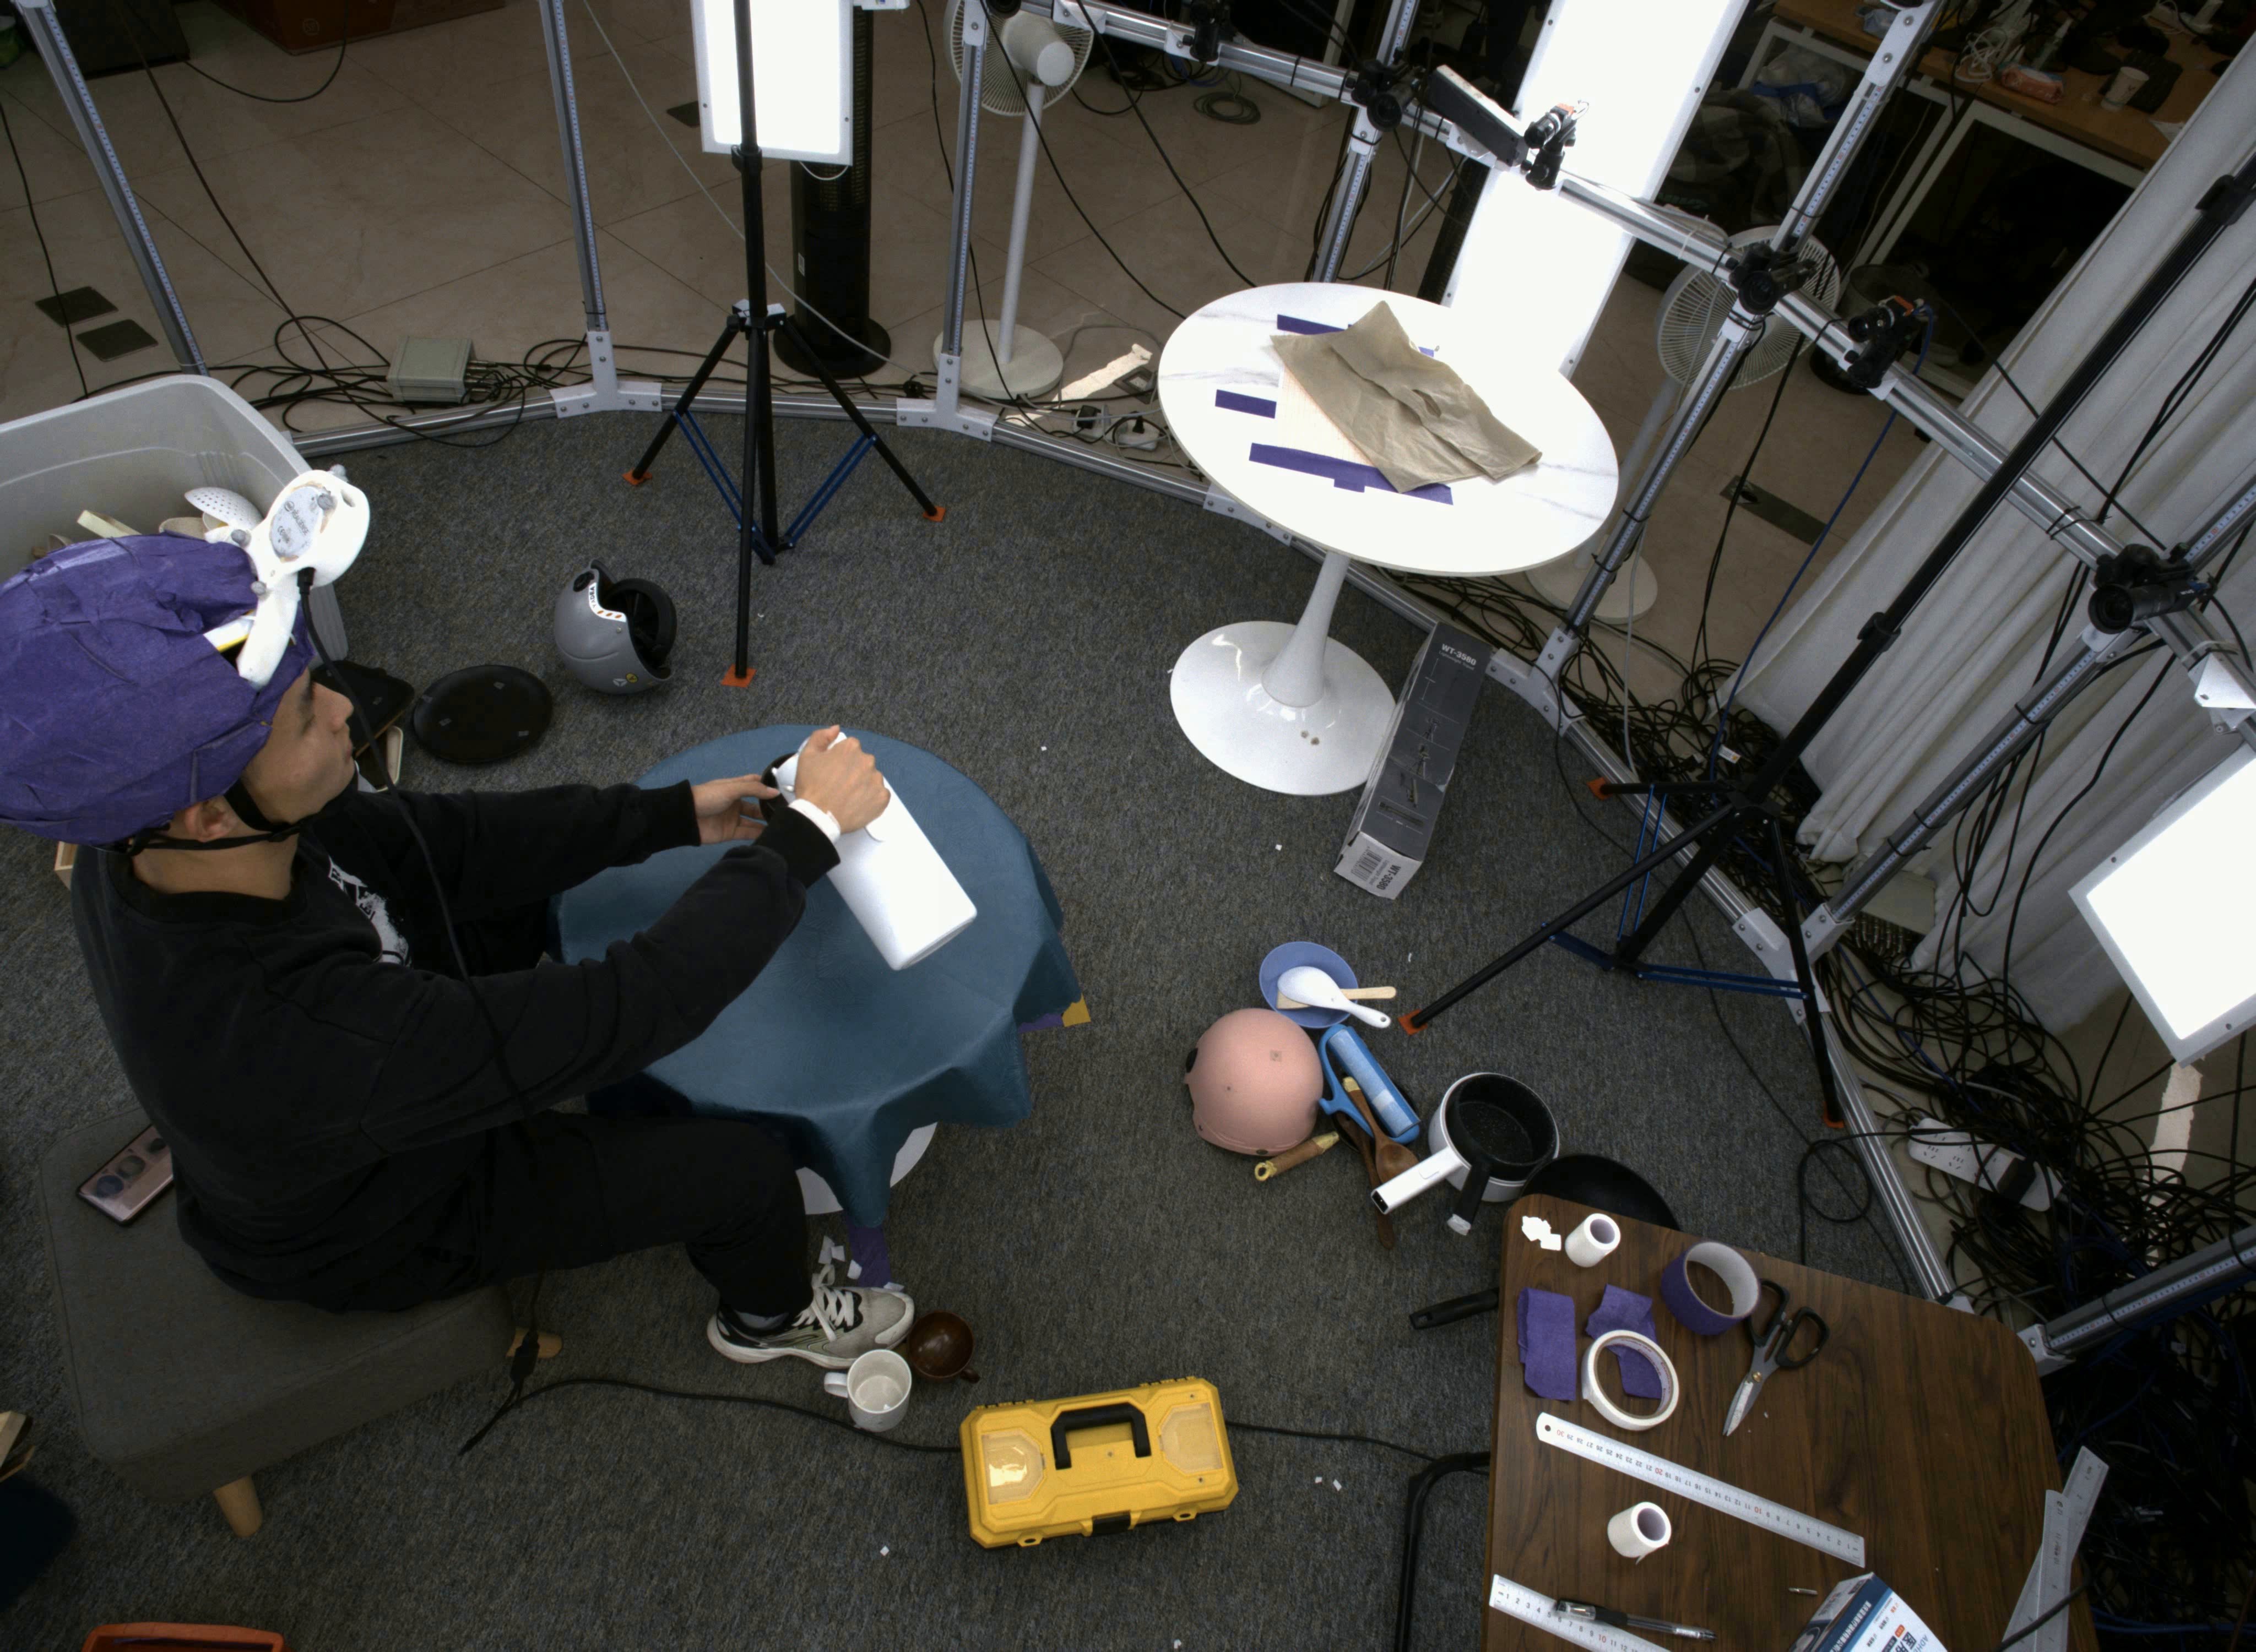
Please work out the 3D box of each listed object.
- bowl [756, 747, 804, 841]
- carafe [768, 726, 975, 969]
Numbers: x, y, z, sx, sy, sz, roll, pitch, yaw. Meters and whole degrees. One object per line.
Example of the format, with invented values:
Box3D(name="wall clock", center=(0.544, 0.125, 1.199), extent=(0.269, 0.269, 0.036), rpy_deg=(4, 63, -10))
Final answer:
Box3D(name="bowl", center=(-0.404, -0.033, 1.616), extent=(0.118, 0.071, 0.116), rpy_deg=(10, 53, -12))
Box3D(name="carafe", center=(-0.288, 0.017, 1.465), extent=(0.124, 0.172, 0.270), rpy_deg=(-33, 88, -24))
